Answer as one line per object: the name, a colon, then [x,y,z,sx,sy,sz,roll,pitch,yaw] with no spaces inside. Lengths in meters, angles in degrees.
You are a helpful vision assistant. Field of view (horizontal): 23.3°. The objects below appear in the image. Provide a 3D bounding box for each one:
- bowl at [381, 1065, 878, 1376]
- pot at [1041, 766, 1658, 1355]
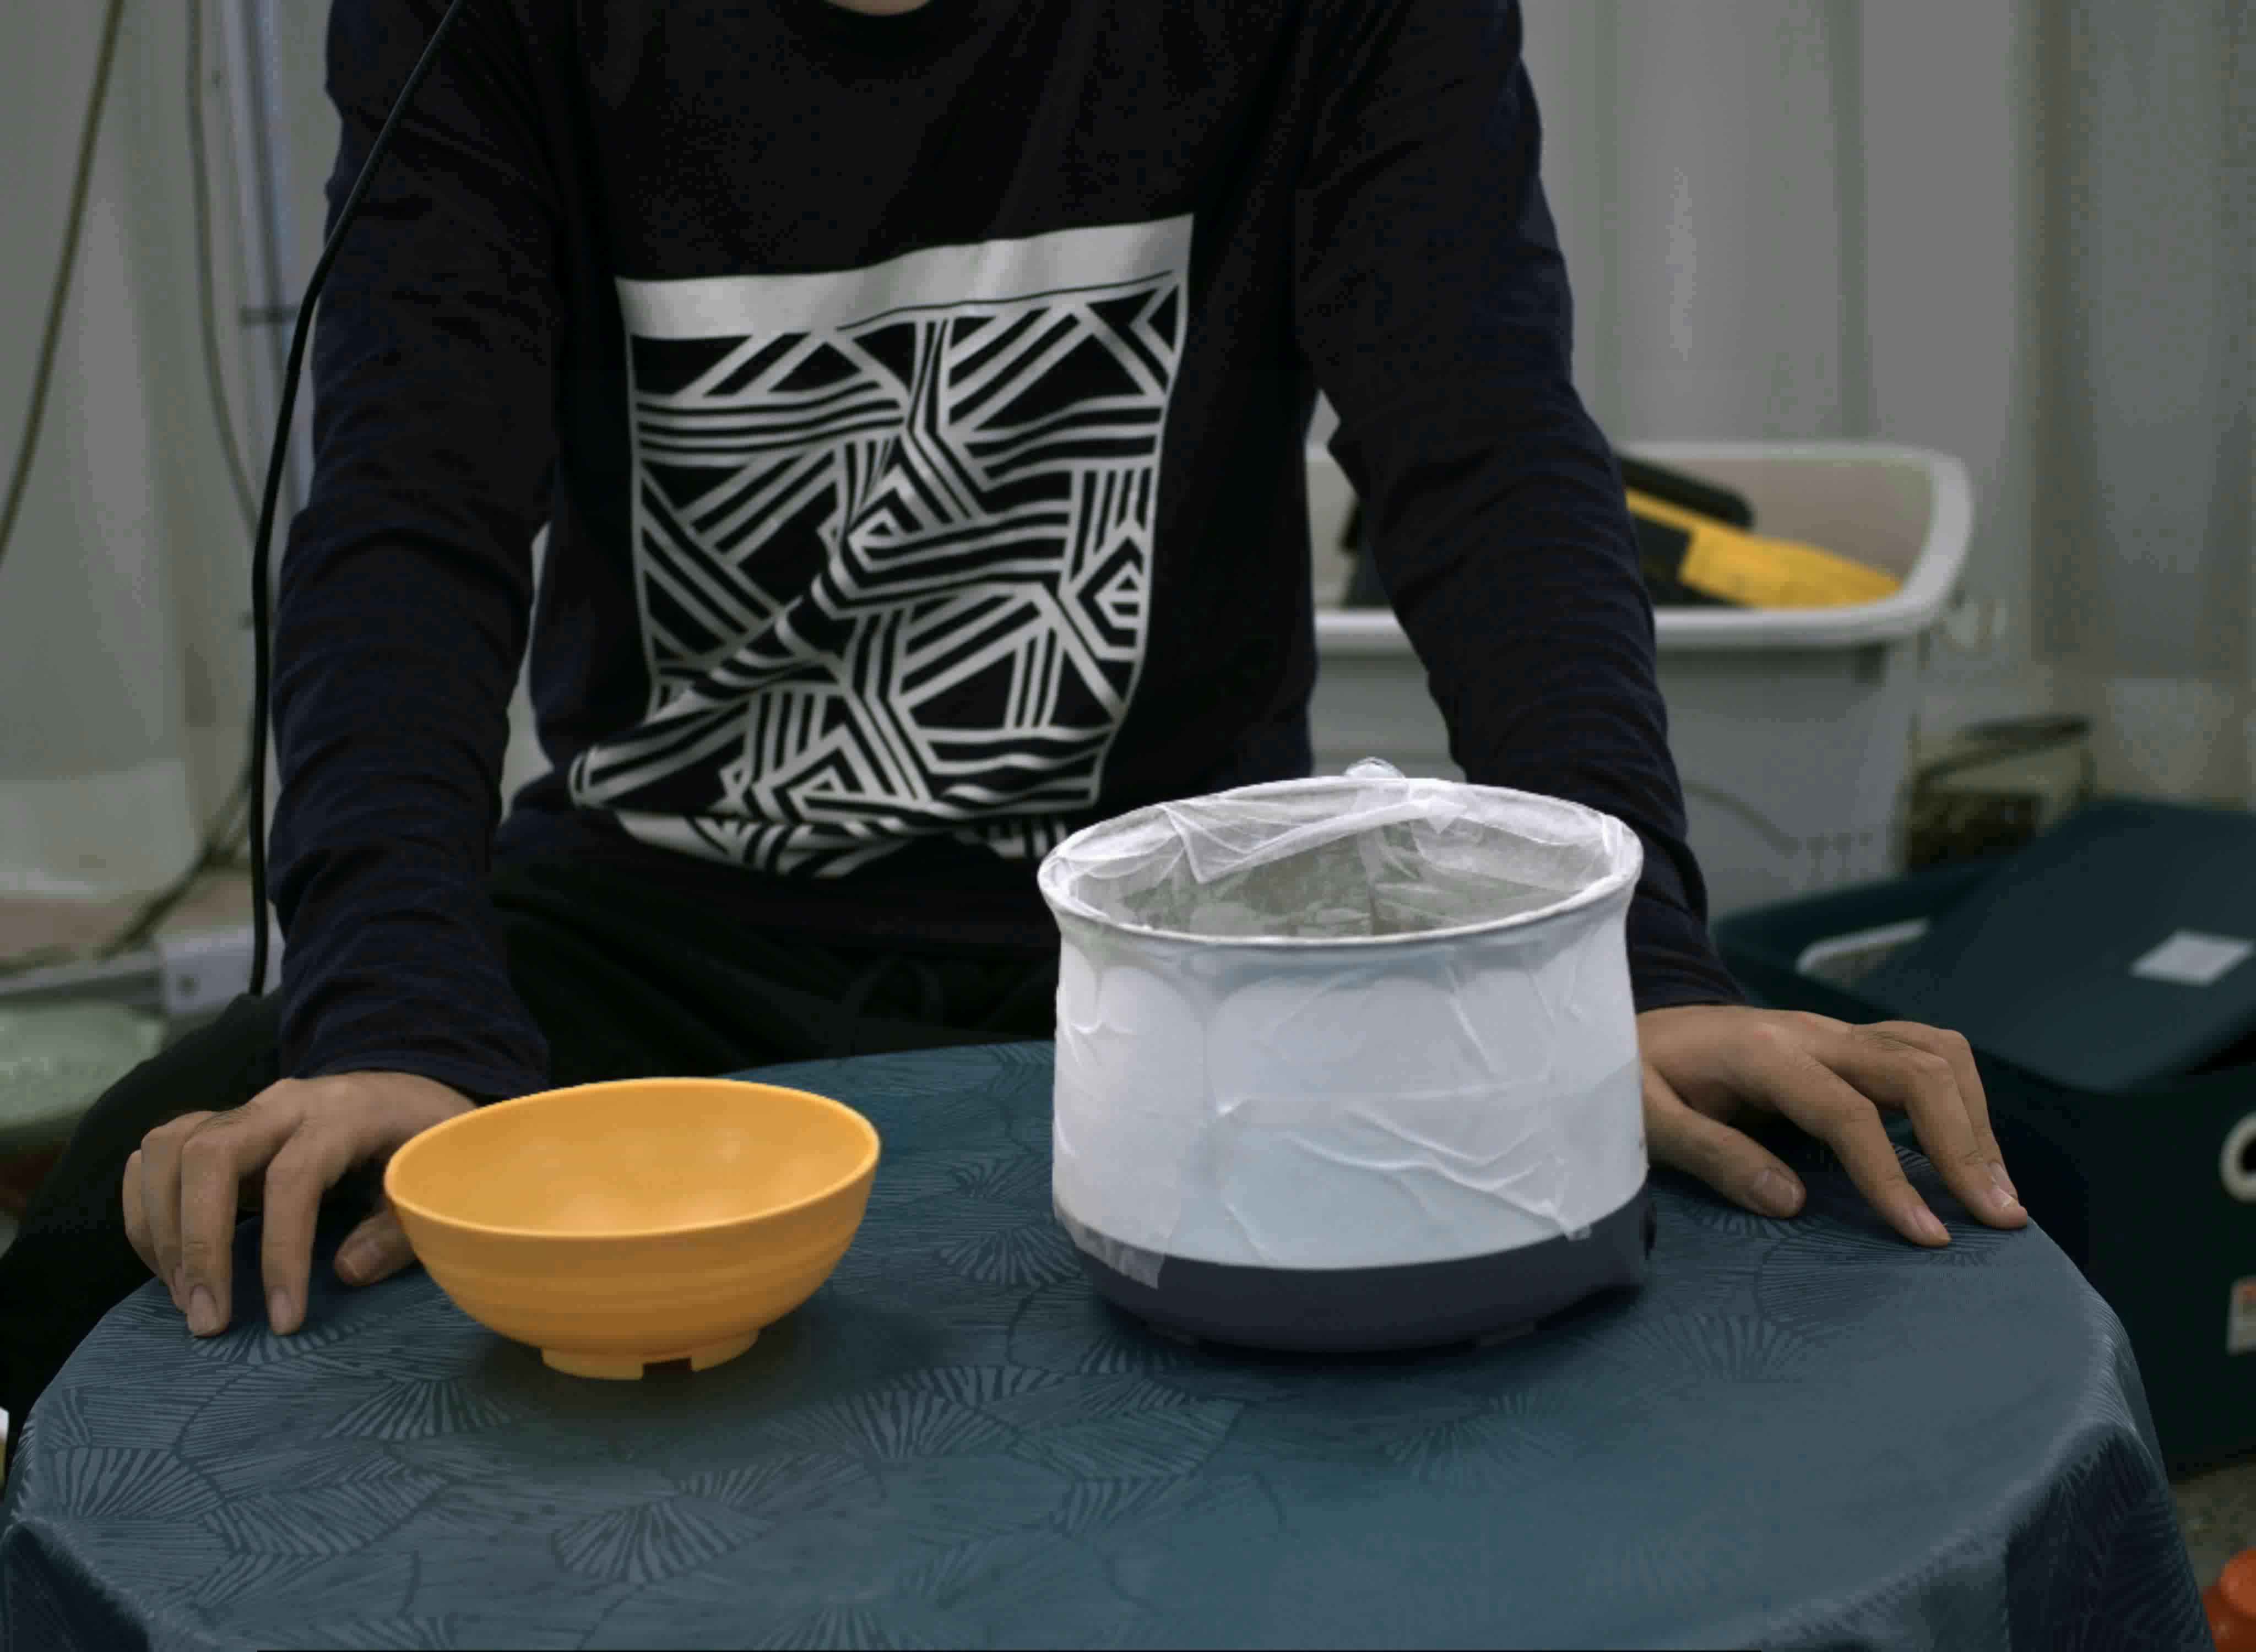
bowl: [-0.144,0.121,1.598,0.145,0.060,0.146,-1,16,0]
pot: [0.069,0.065,1.636,0.178,0.136,0.235,-1,13,8]
